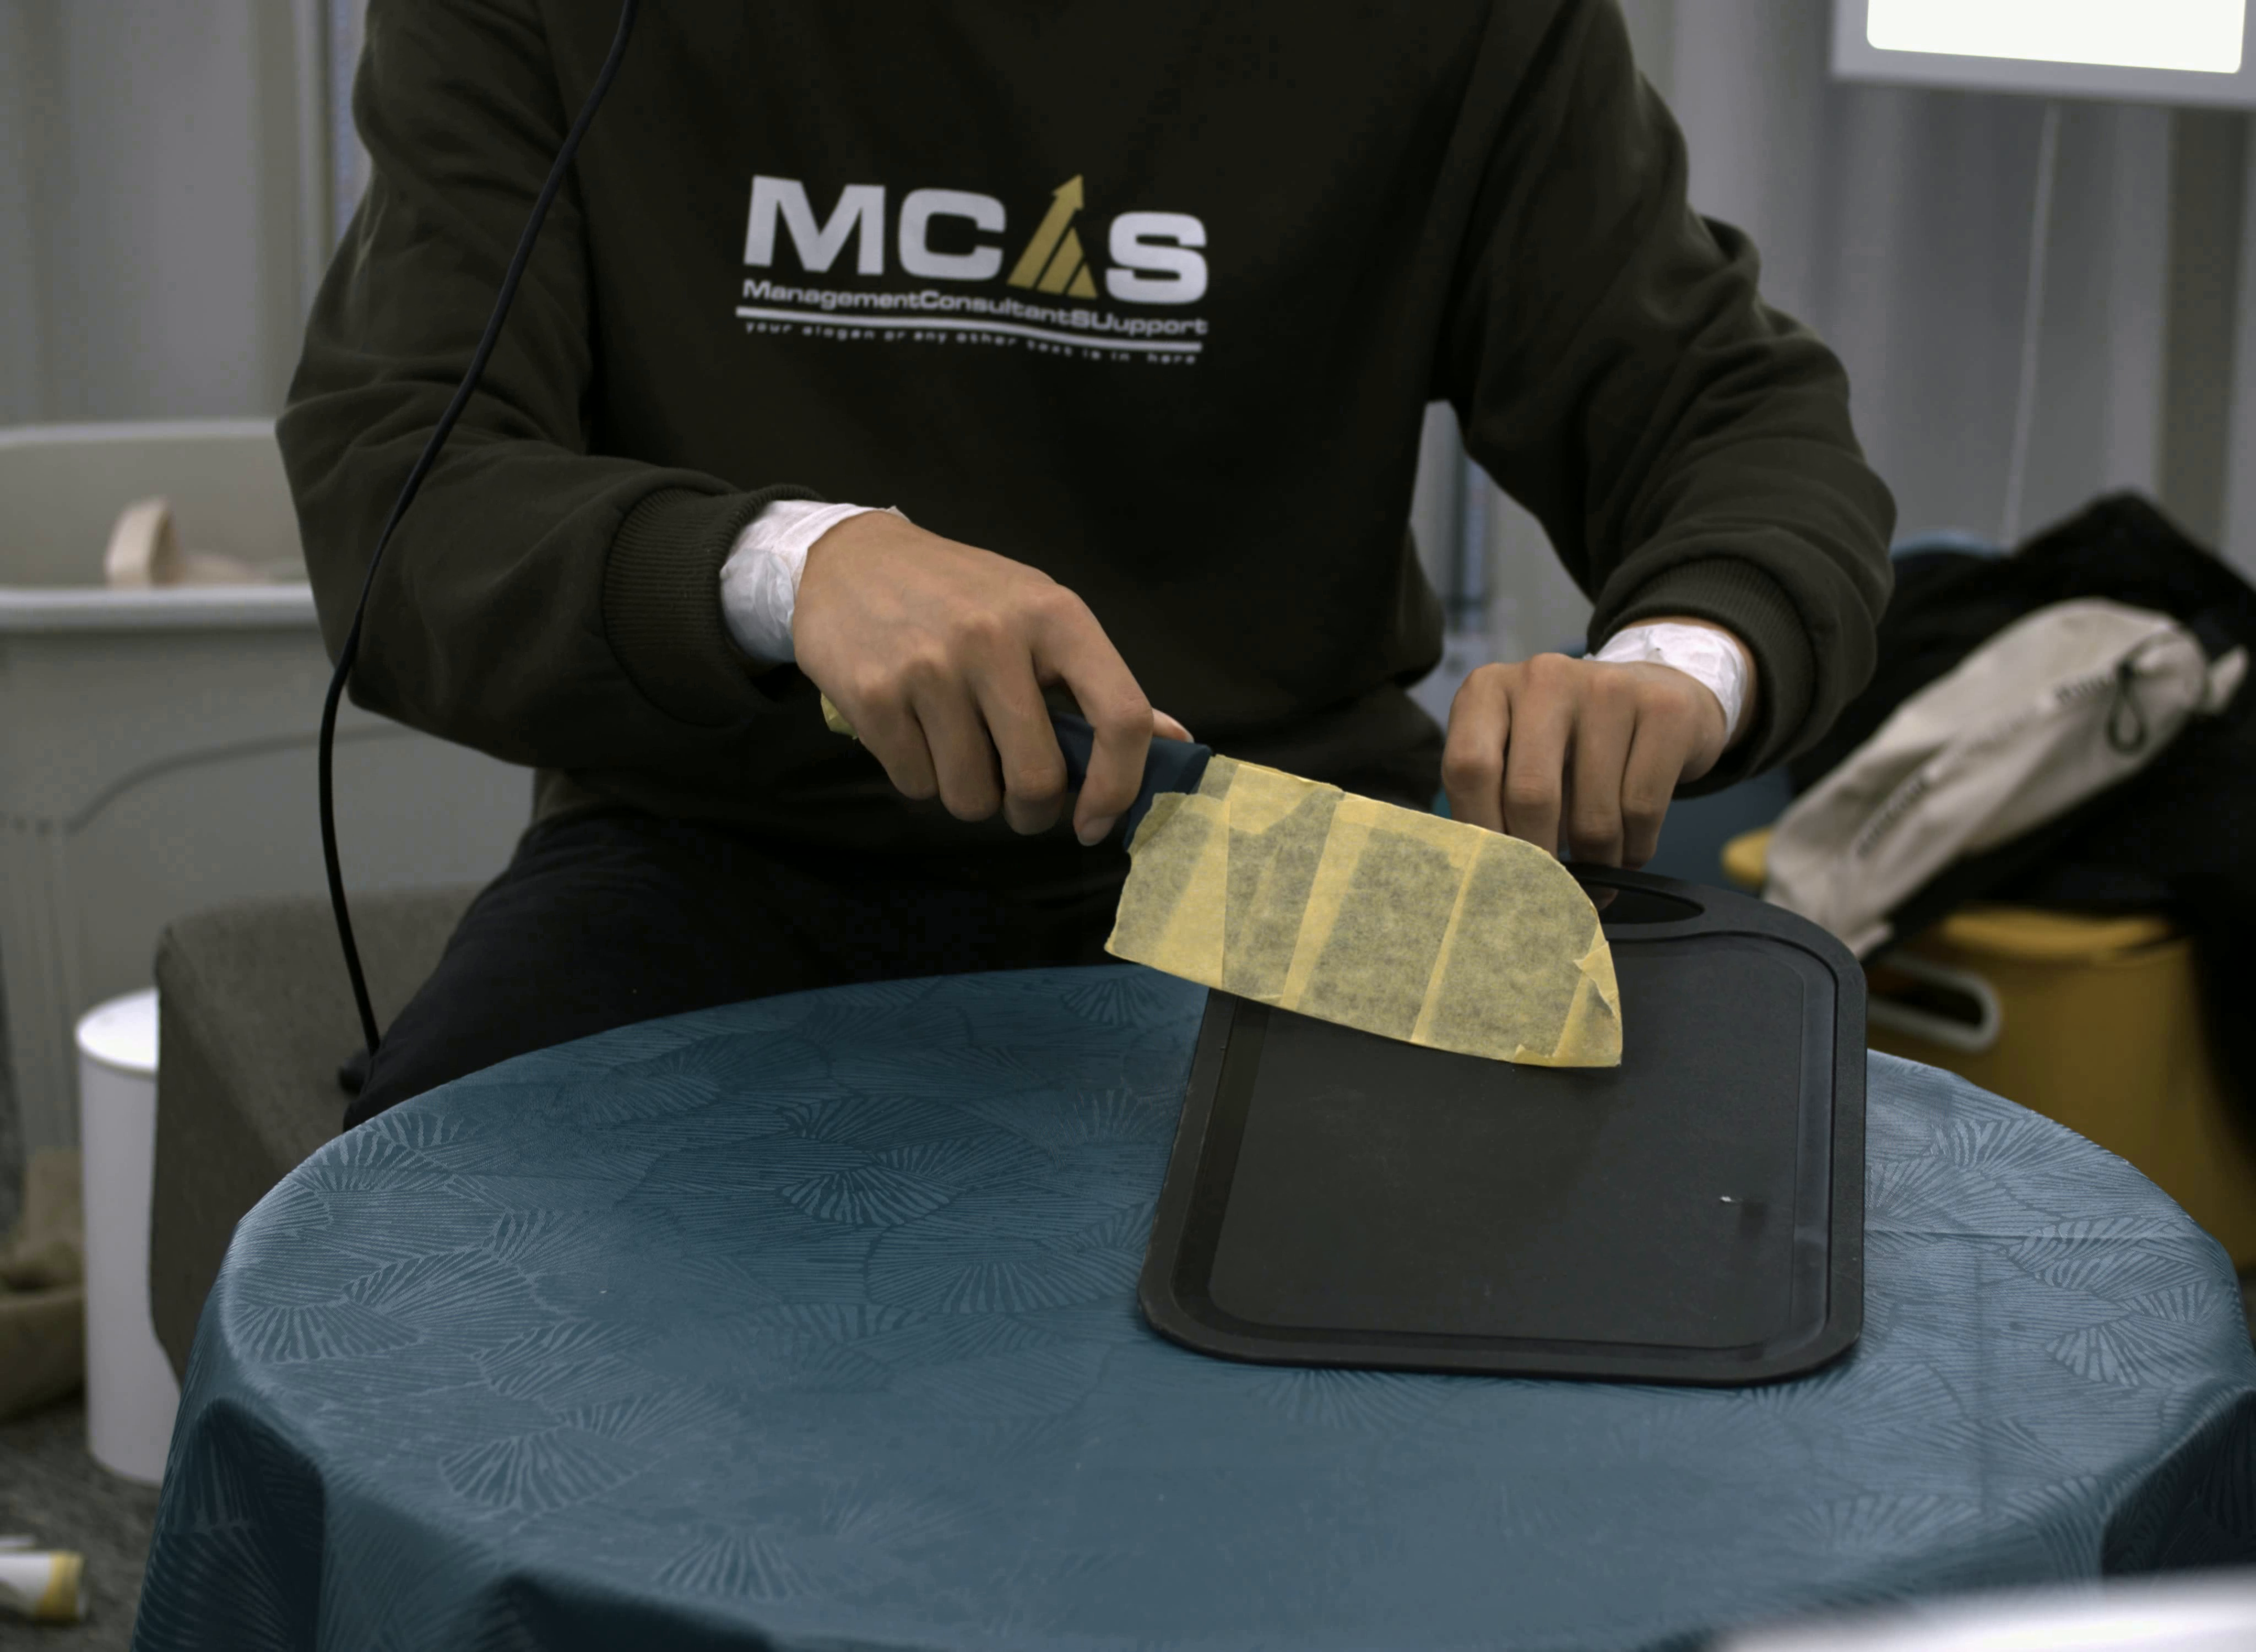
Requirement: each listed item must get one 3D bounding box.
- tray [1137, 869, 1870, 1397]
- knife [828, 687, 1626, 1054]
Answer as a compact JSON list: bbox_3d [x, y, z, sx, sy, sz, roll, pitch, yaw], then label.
[{"bbox_3d":[0.121,0.084,1.618,0.210,0.010,0.323,4,26,7],"label":"tray"},{"bbox_3d":[0.027,0.012,1.688,0.286,0.081,0.027,18,-10,20],"label":"knife"}]
